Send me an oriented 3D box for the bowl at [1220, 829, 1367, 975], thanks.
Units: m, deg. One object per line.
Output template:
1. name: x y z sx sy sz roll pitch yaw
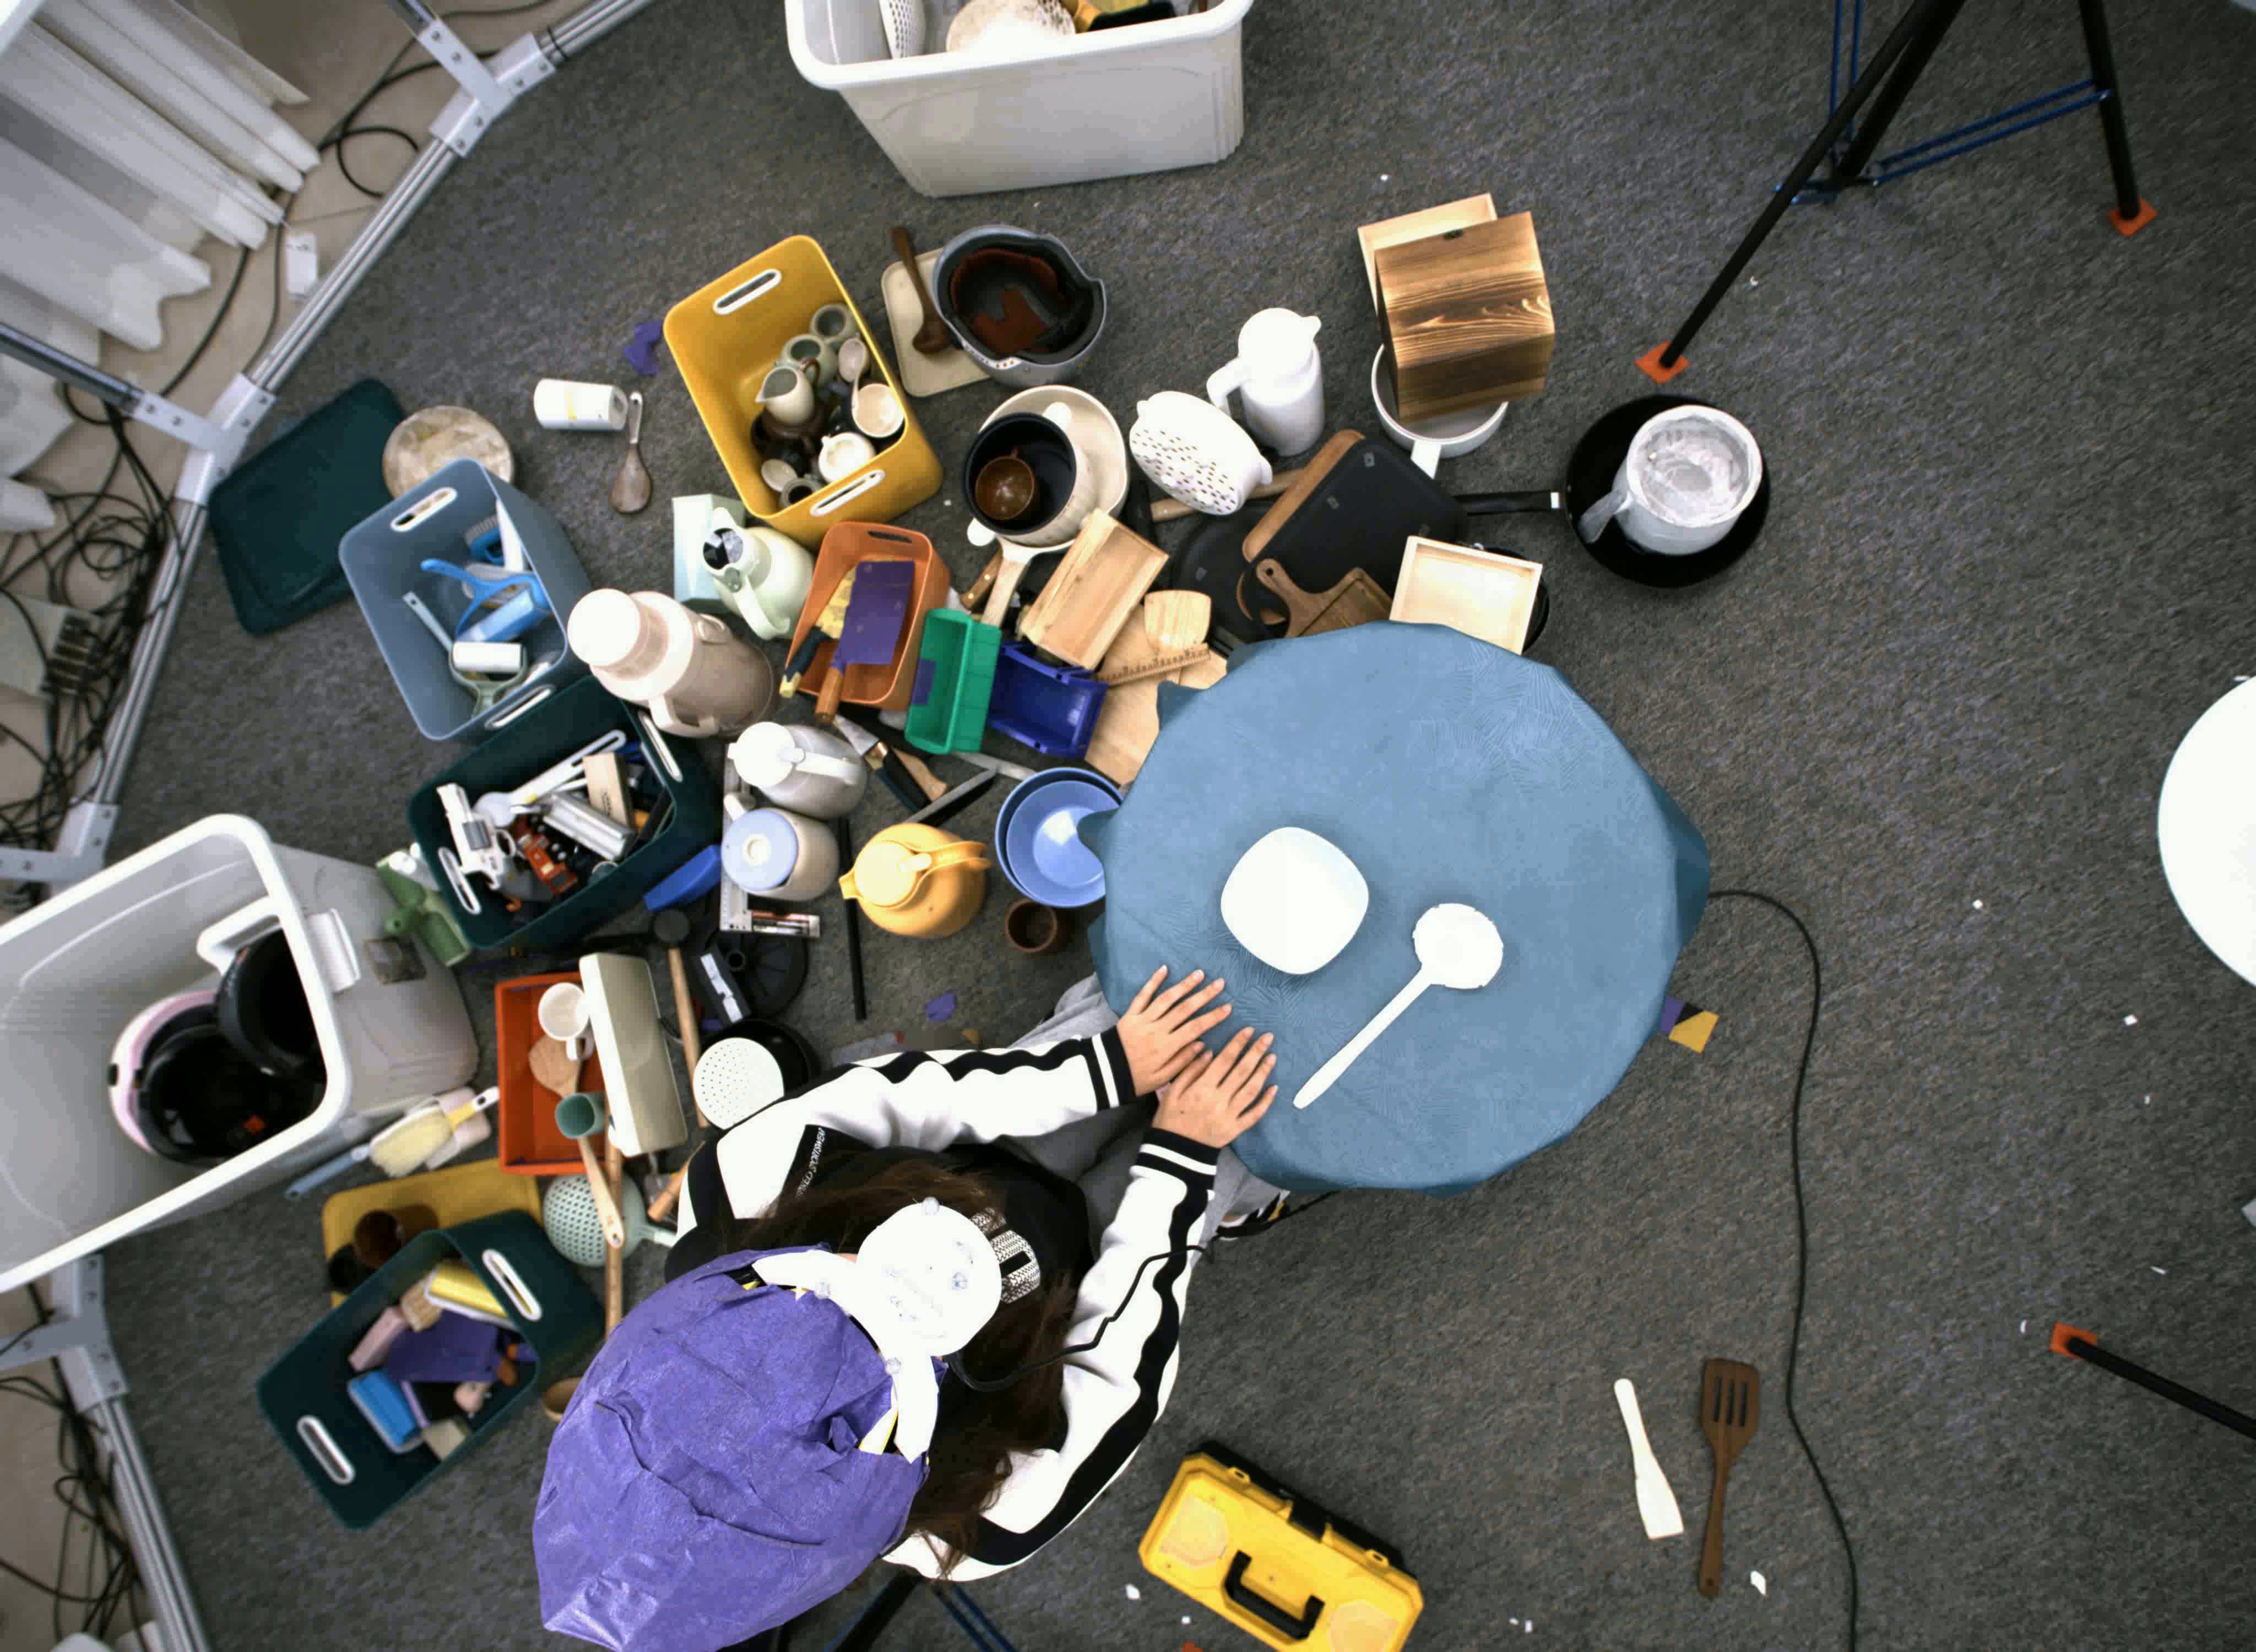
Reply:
1. bowl: 0.174 0.080 1.451 0.152 0.059 0.151 -1 86 10

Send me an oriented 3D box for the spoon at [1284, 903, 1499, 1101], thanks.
1. spoon: 0.261 0.186 1.427 0.279 0.059 0.100 -42 75 6
